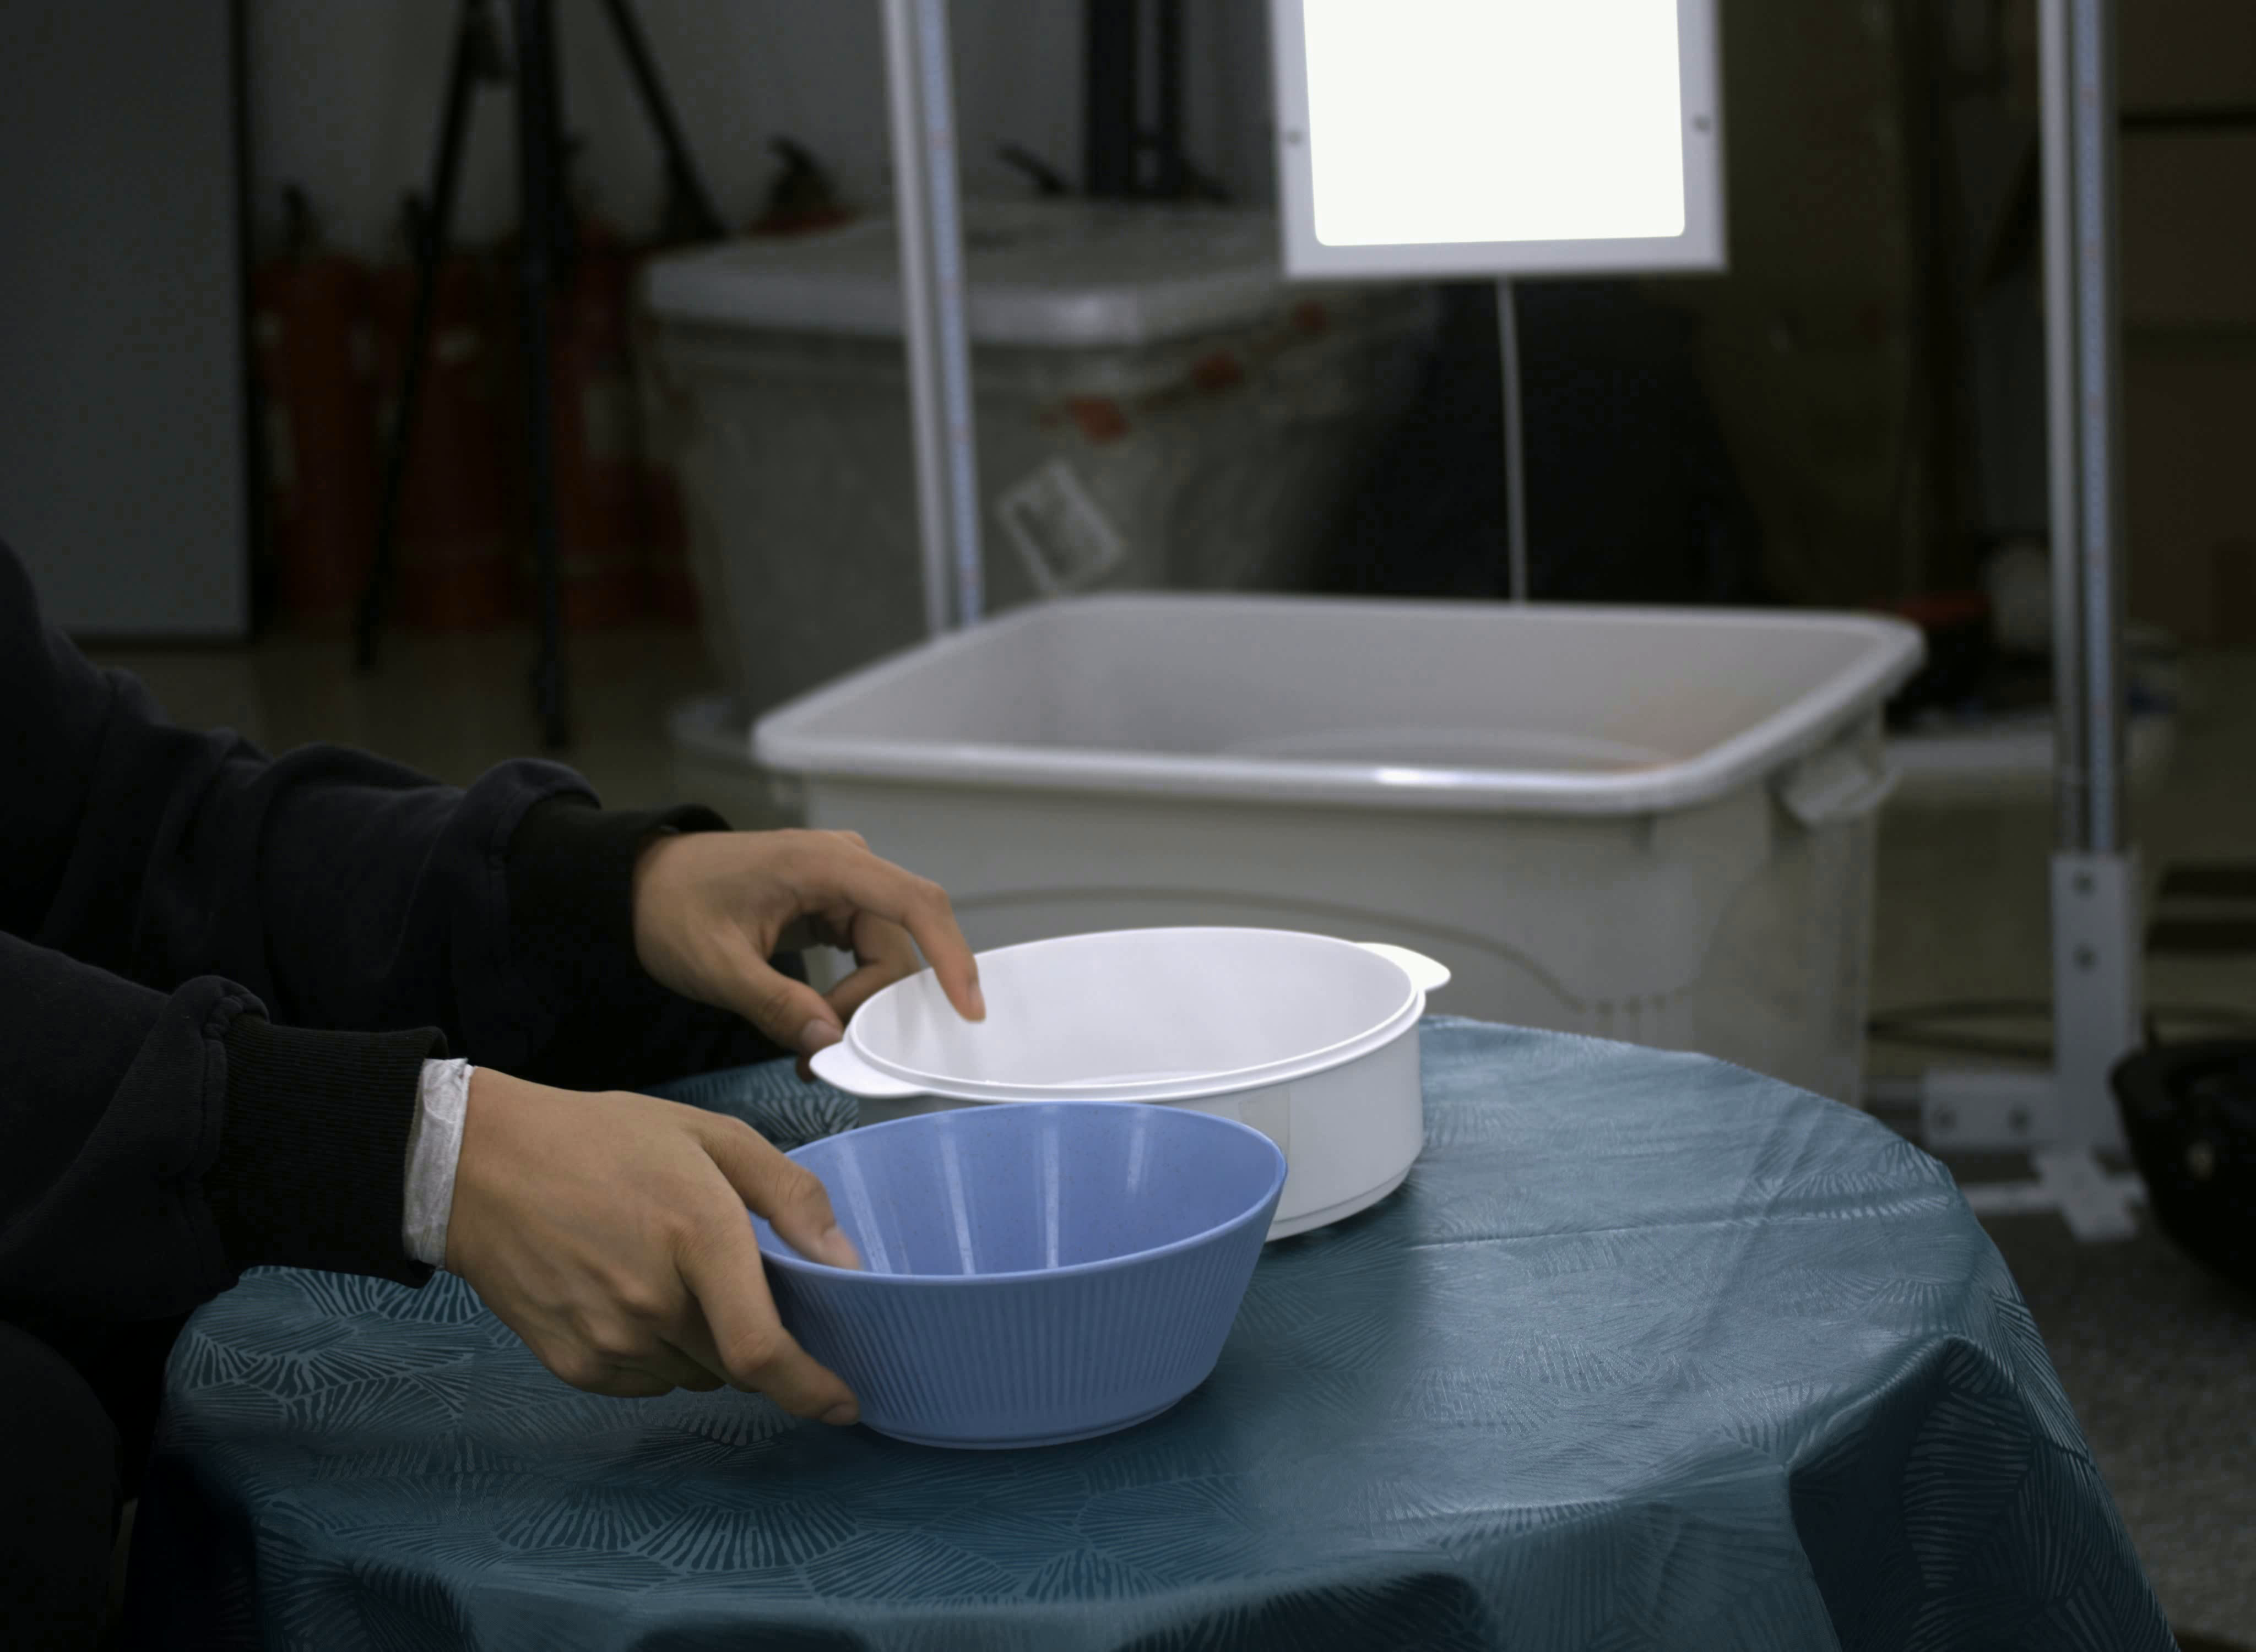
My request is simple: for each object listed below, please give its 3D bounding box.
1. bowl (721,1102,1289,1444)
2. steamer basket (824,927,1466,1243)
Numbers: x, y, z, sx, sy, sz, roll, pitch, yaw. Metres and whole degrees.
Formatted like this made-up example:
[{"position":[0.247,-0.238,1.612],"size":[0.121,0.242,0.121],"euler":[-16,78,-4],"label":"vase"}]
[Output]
[{"position":[-0.036,0.140,1.702],"size":[0.175,0.070,0.176],"euler":[-4,14,0],"label":"bowl"},{"position":[0.009,0.091,1.895],"size":[0.226,0.069,0.205],"euler":[-8,14,-23],"label":"steamer basket"}]
